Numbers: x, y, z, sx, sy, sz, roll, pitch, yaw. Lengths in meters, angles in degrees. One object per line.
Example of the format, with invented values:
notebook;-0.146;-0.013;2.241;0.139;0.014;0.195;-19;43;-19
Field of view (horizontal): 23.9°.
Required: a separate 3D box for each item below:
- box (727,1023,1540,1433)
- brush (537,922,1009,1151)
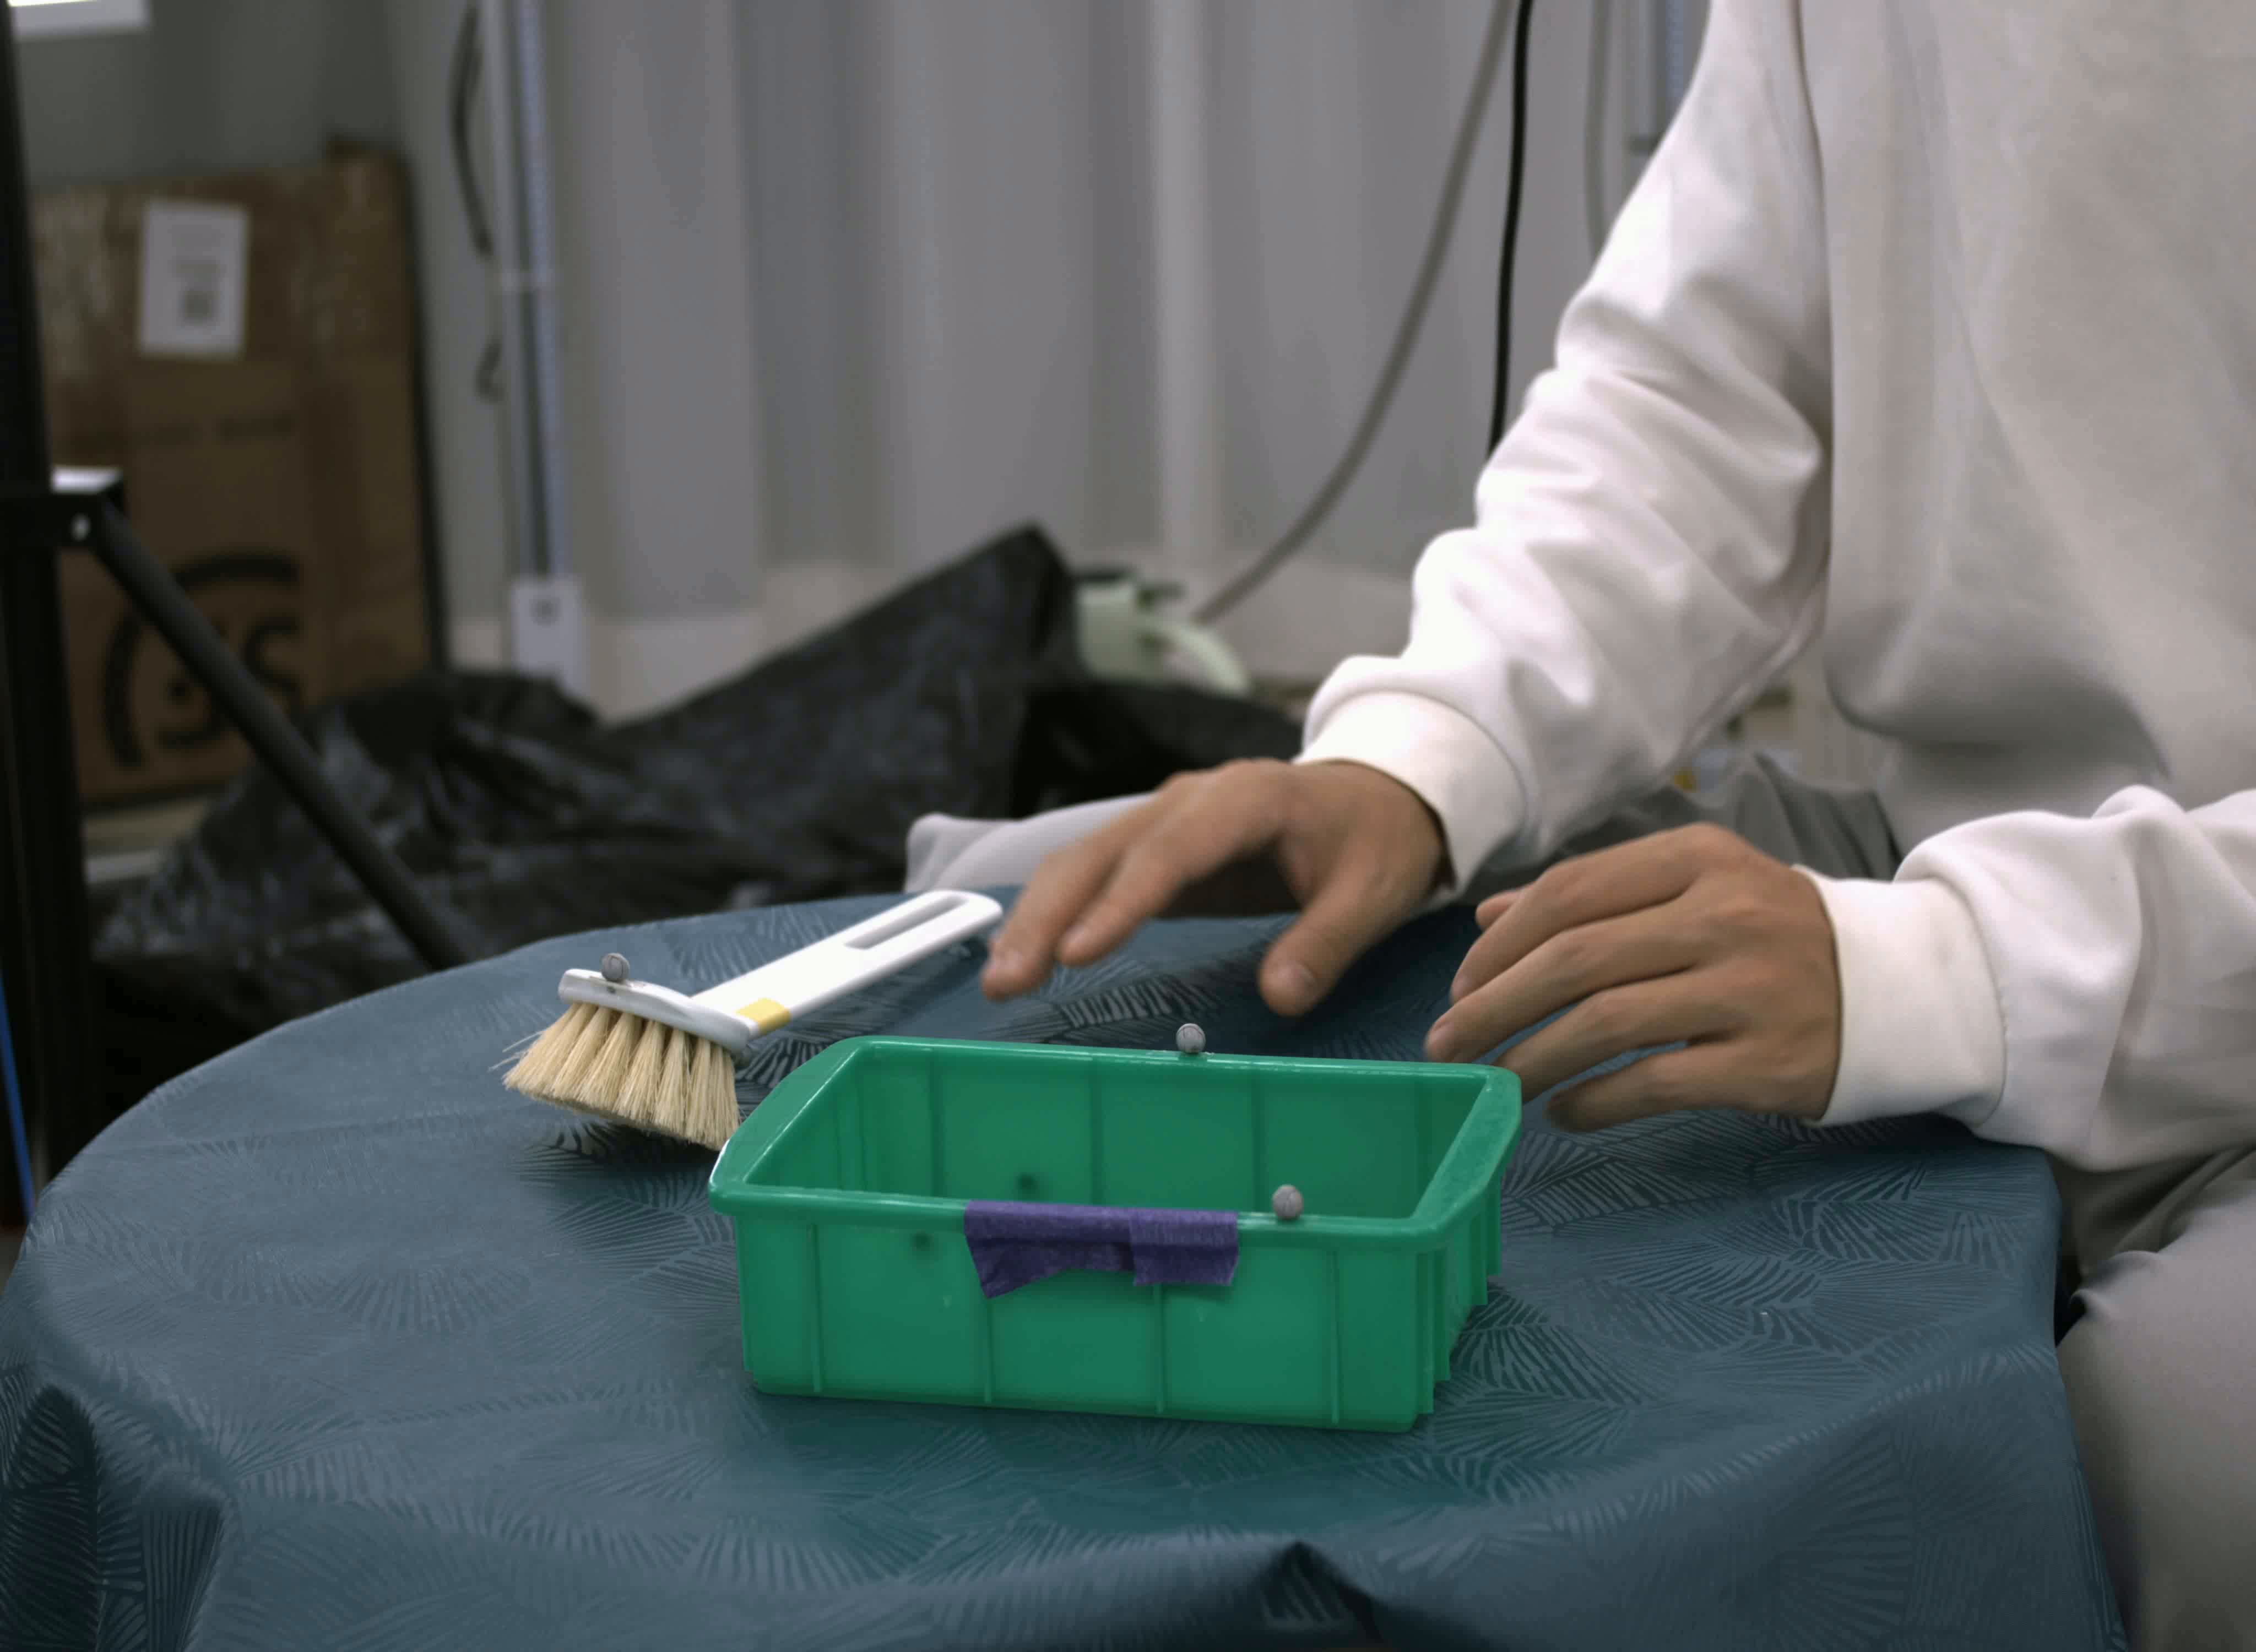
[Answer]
box;0.004;0.109;1.442;0.212;0.065;0.138;4;17;14
brush;-0.103;0.064;1.700;0.069;0.056;0.262;22;9;20
